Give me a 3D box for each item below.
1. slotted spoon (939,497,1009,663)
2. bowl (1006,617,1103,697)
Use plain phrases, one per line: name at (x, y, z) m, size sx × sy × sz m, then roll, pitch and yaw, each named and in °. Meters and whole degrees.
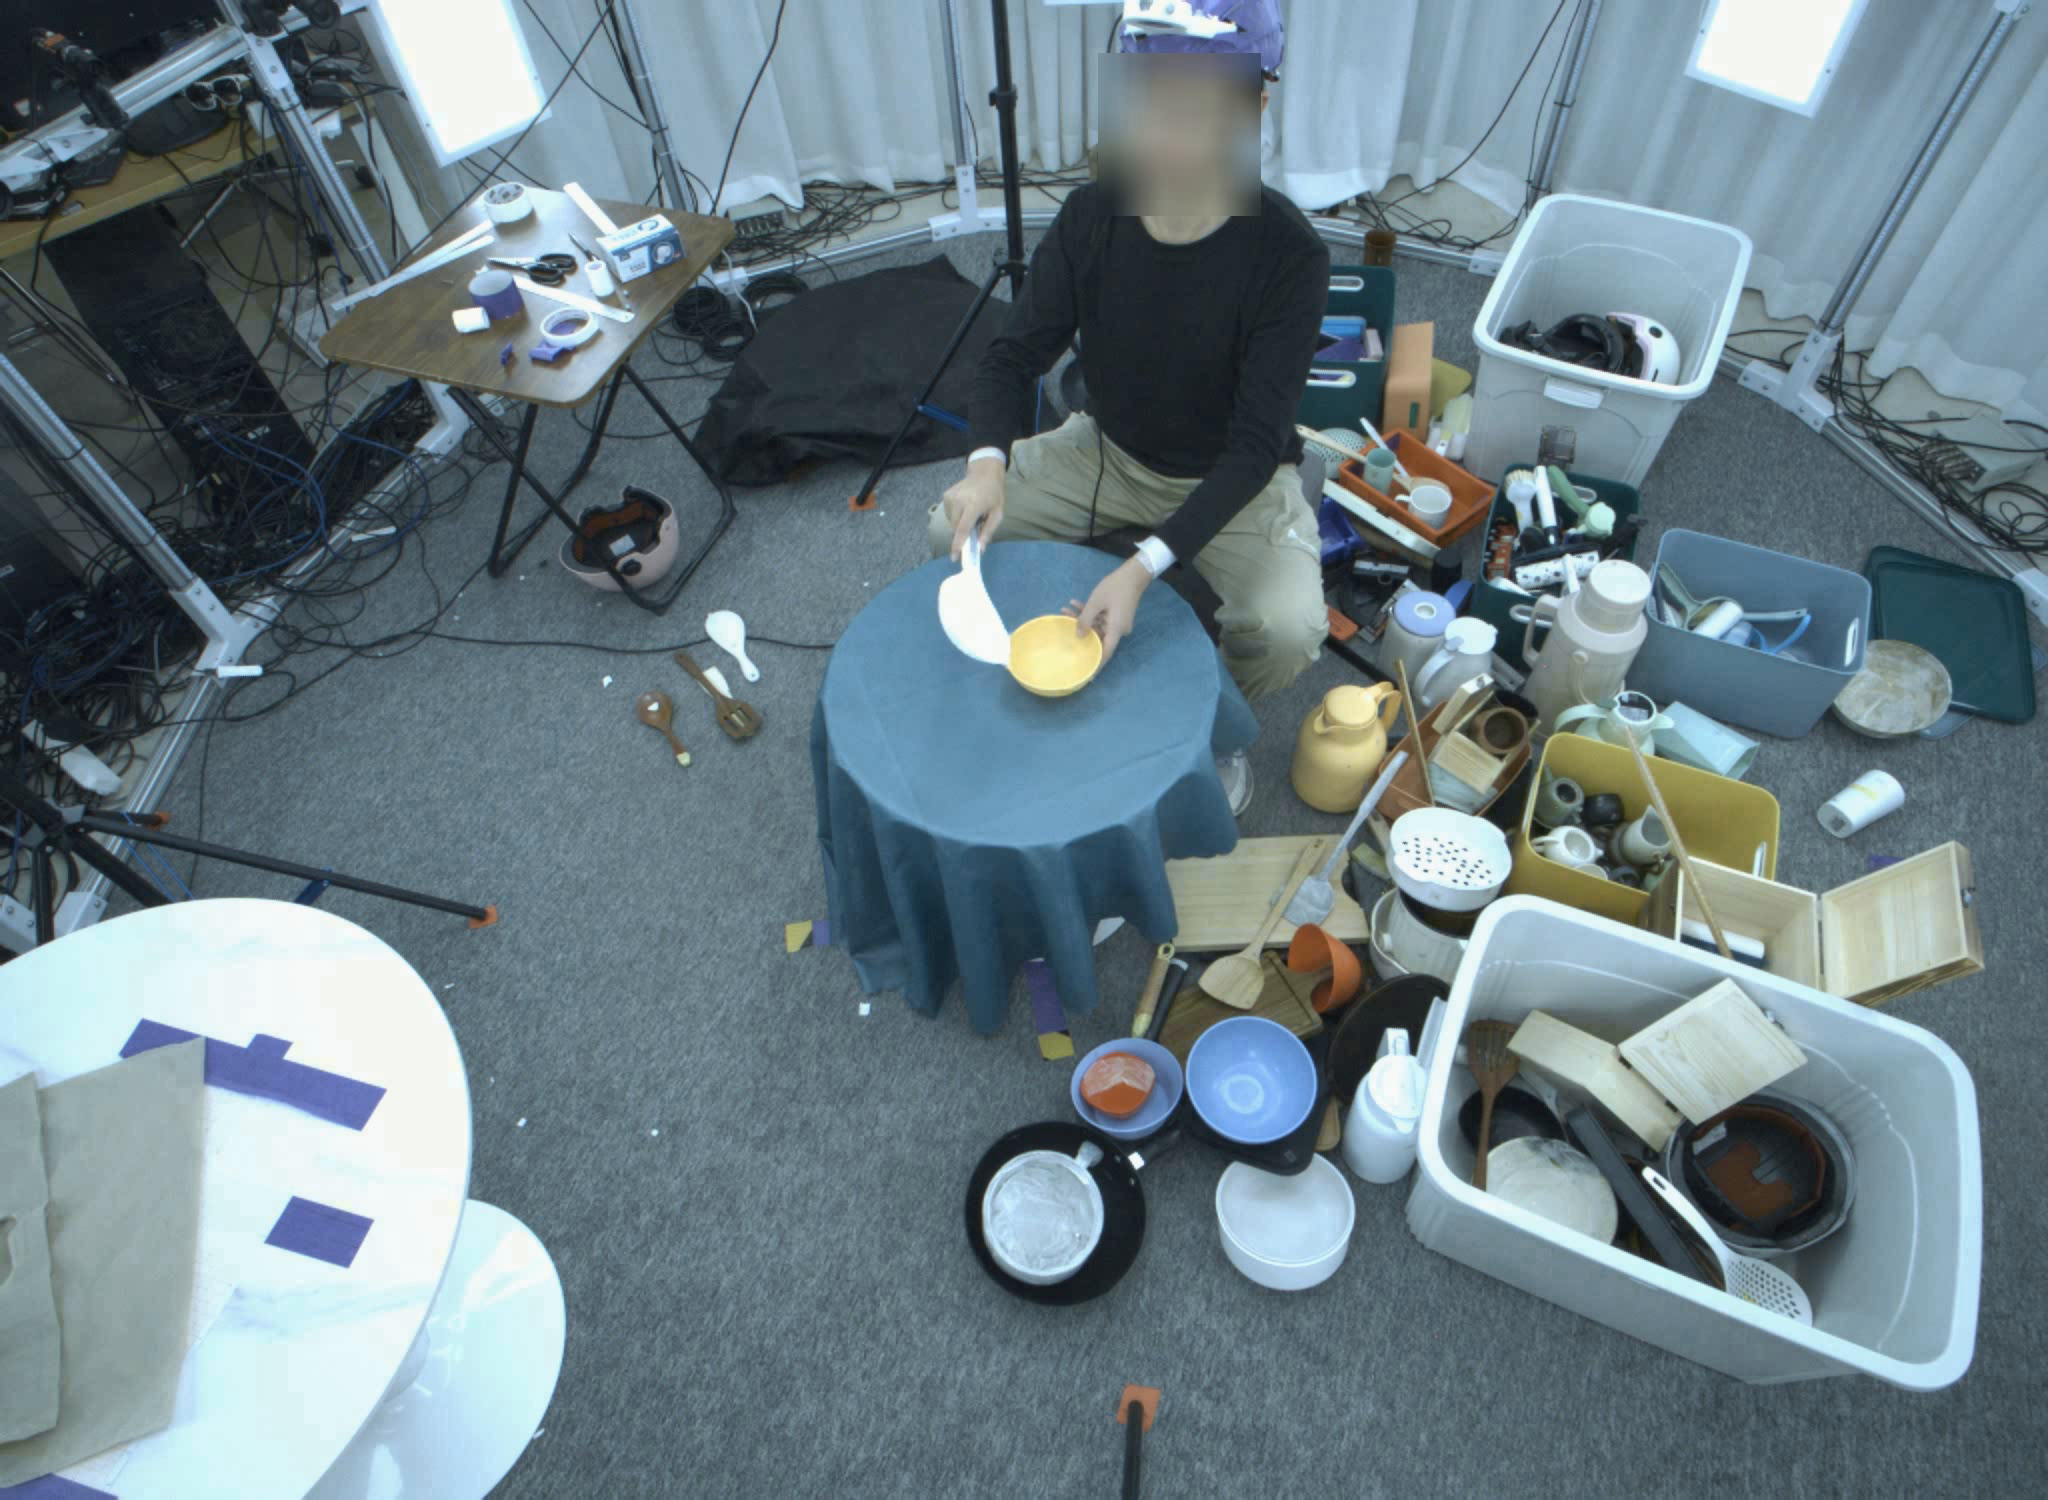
slotted spoon at (-0.077, -0.253, 1.758) m, size 0.045 × 0.139 × 0.346 m, roll -28°, pitch 43°, yaw 31°
bowl at (0.045, -0.128, 1.846) m, size 0.145 × 0.060 × 0.144 m, roll 1°, pitch 54°, yaw 0°
